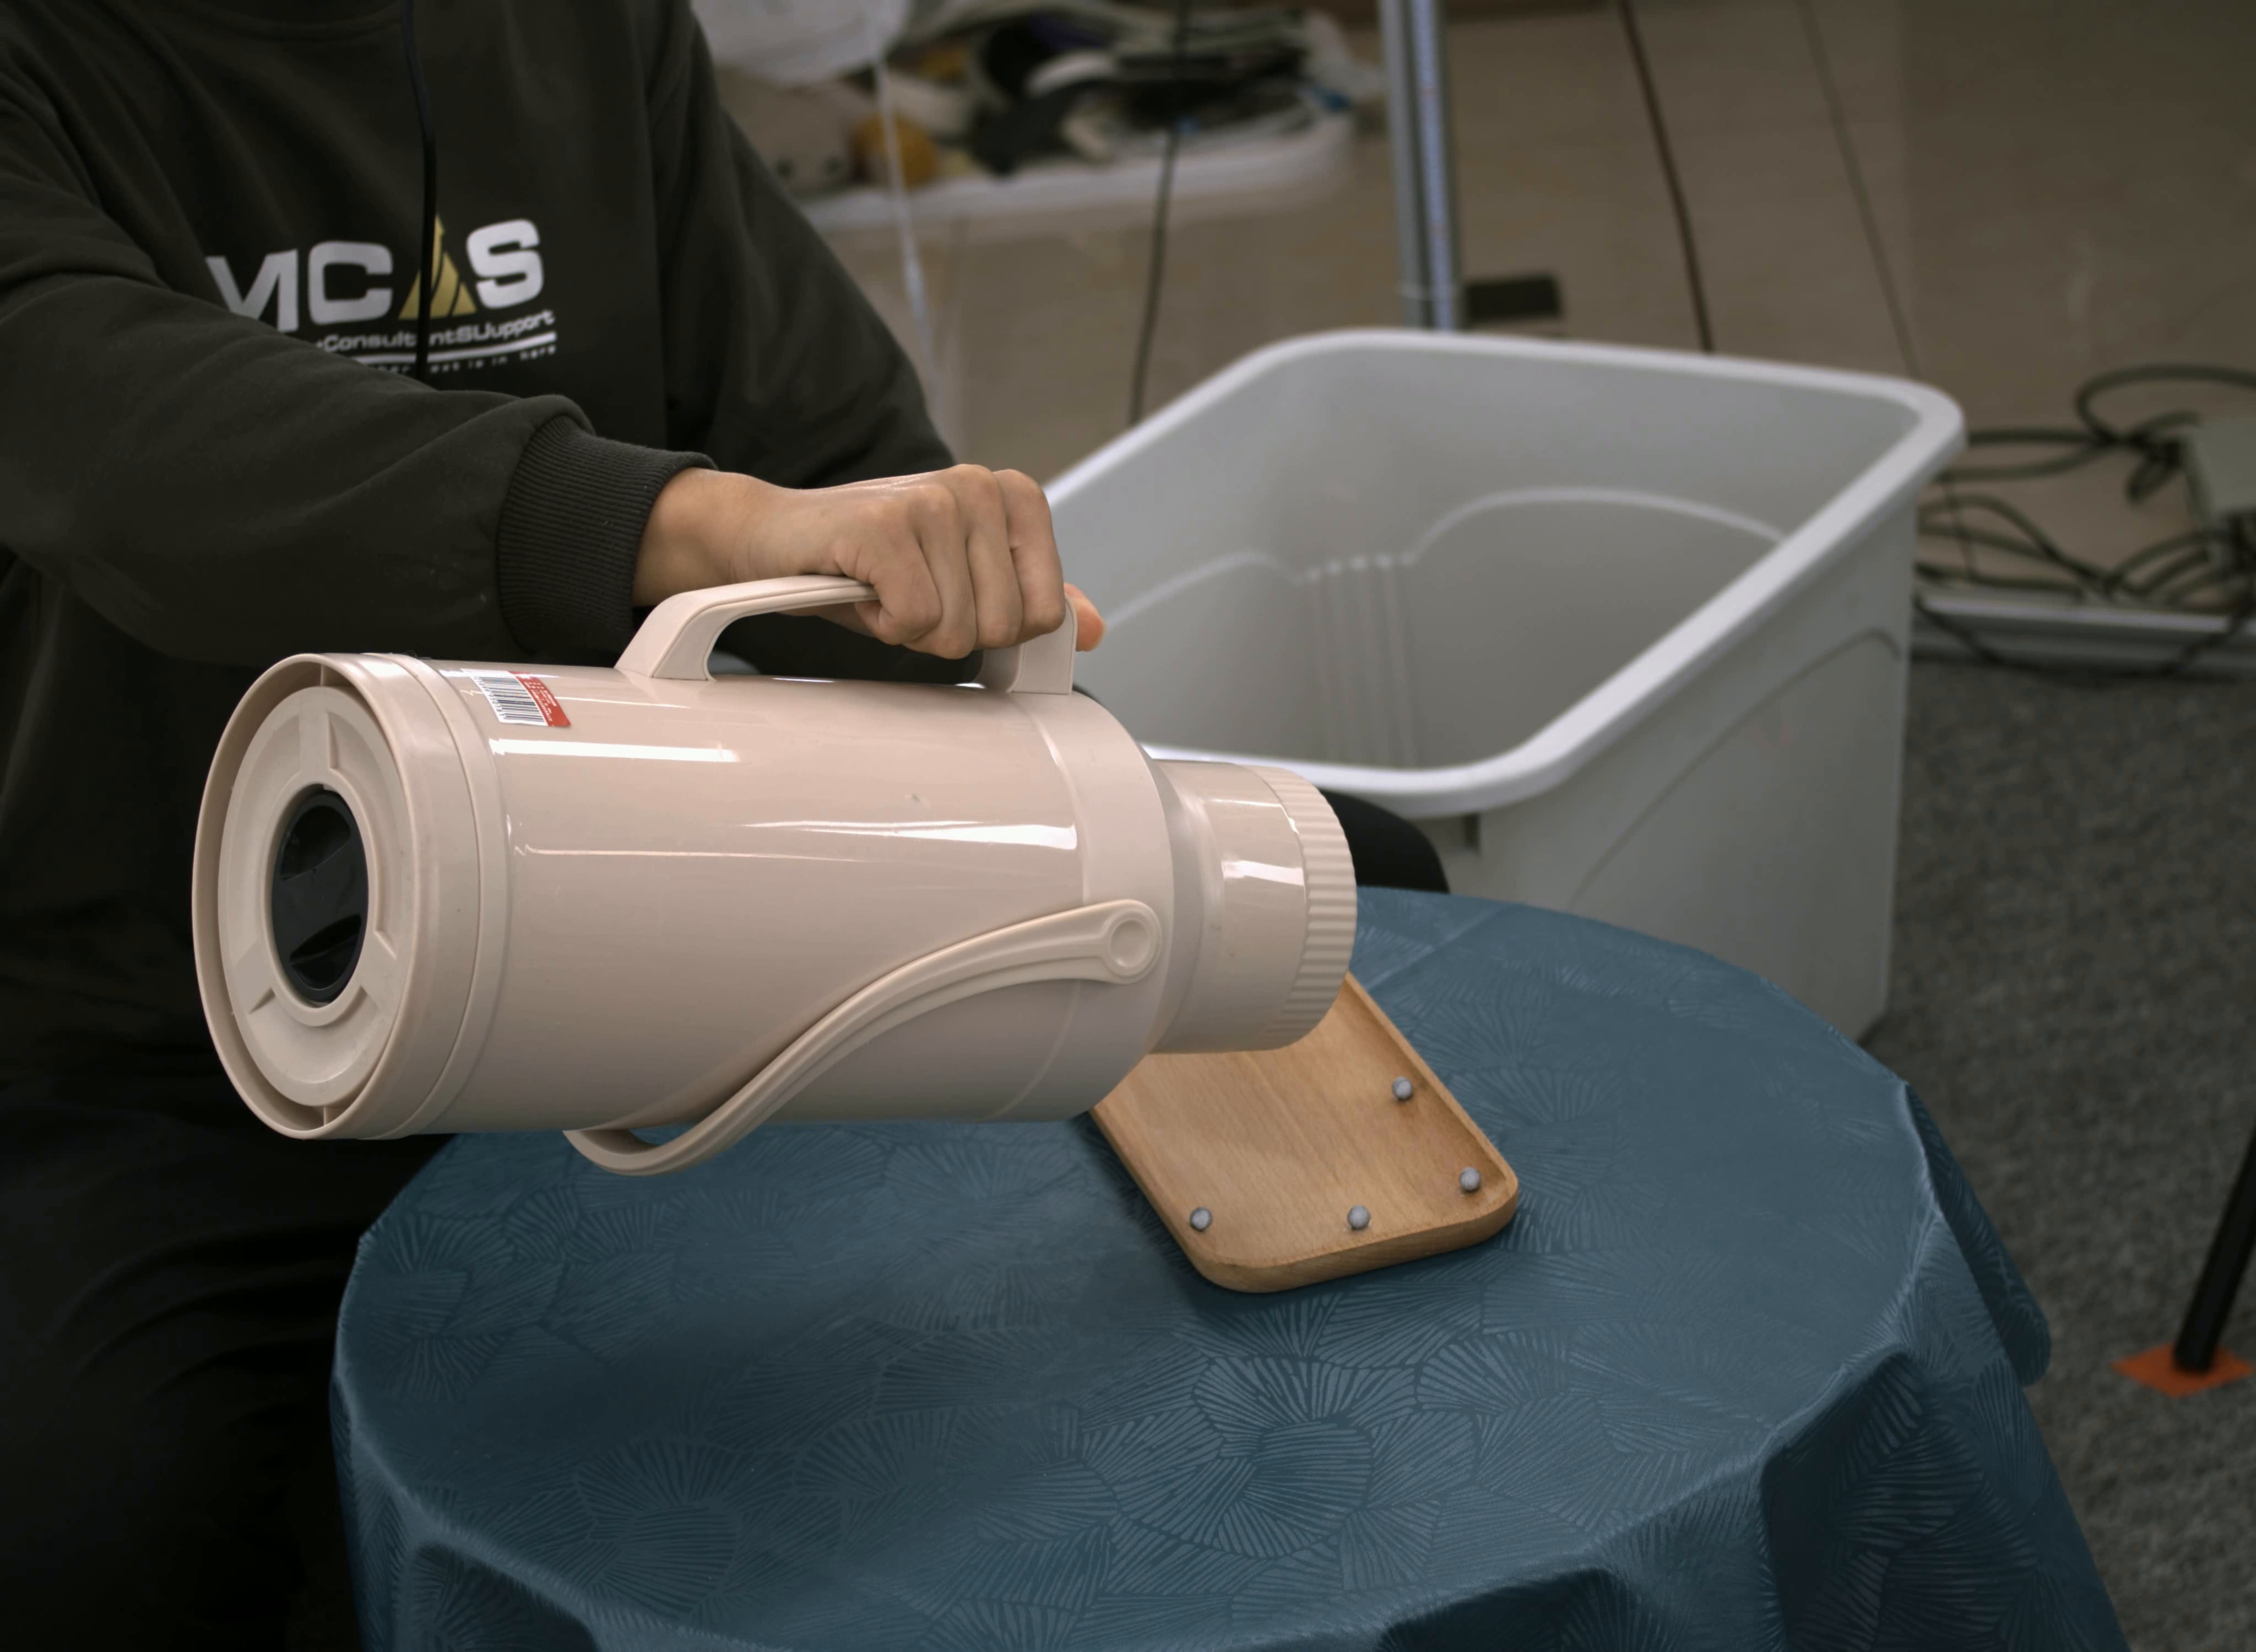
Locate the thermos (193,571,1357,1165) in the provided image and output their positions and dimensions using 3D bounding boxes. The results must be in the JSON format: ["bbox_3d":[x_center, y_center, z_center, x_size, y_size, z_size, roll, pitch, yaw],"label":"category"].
[{"bbox_3d":[-0.110,0.013,1.961,0.406,0.208,0.174,1,10,-35],"label":"thermos"}]

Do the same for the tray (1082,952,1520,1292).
[{"bbox_3d":[0.057,0.111,2.175,0.130,0.023,0.247,-10,24,-13],"label":"tray"}]
